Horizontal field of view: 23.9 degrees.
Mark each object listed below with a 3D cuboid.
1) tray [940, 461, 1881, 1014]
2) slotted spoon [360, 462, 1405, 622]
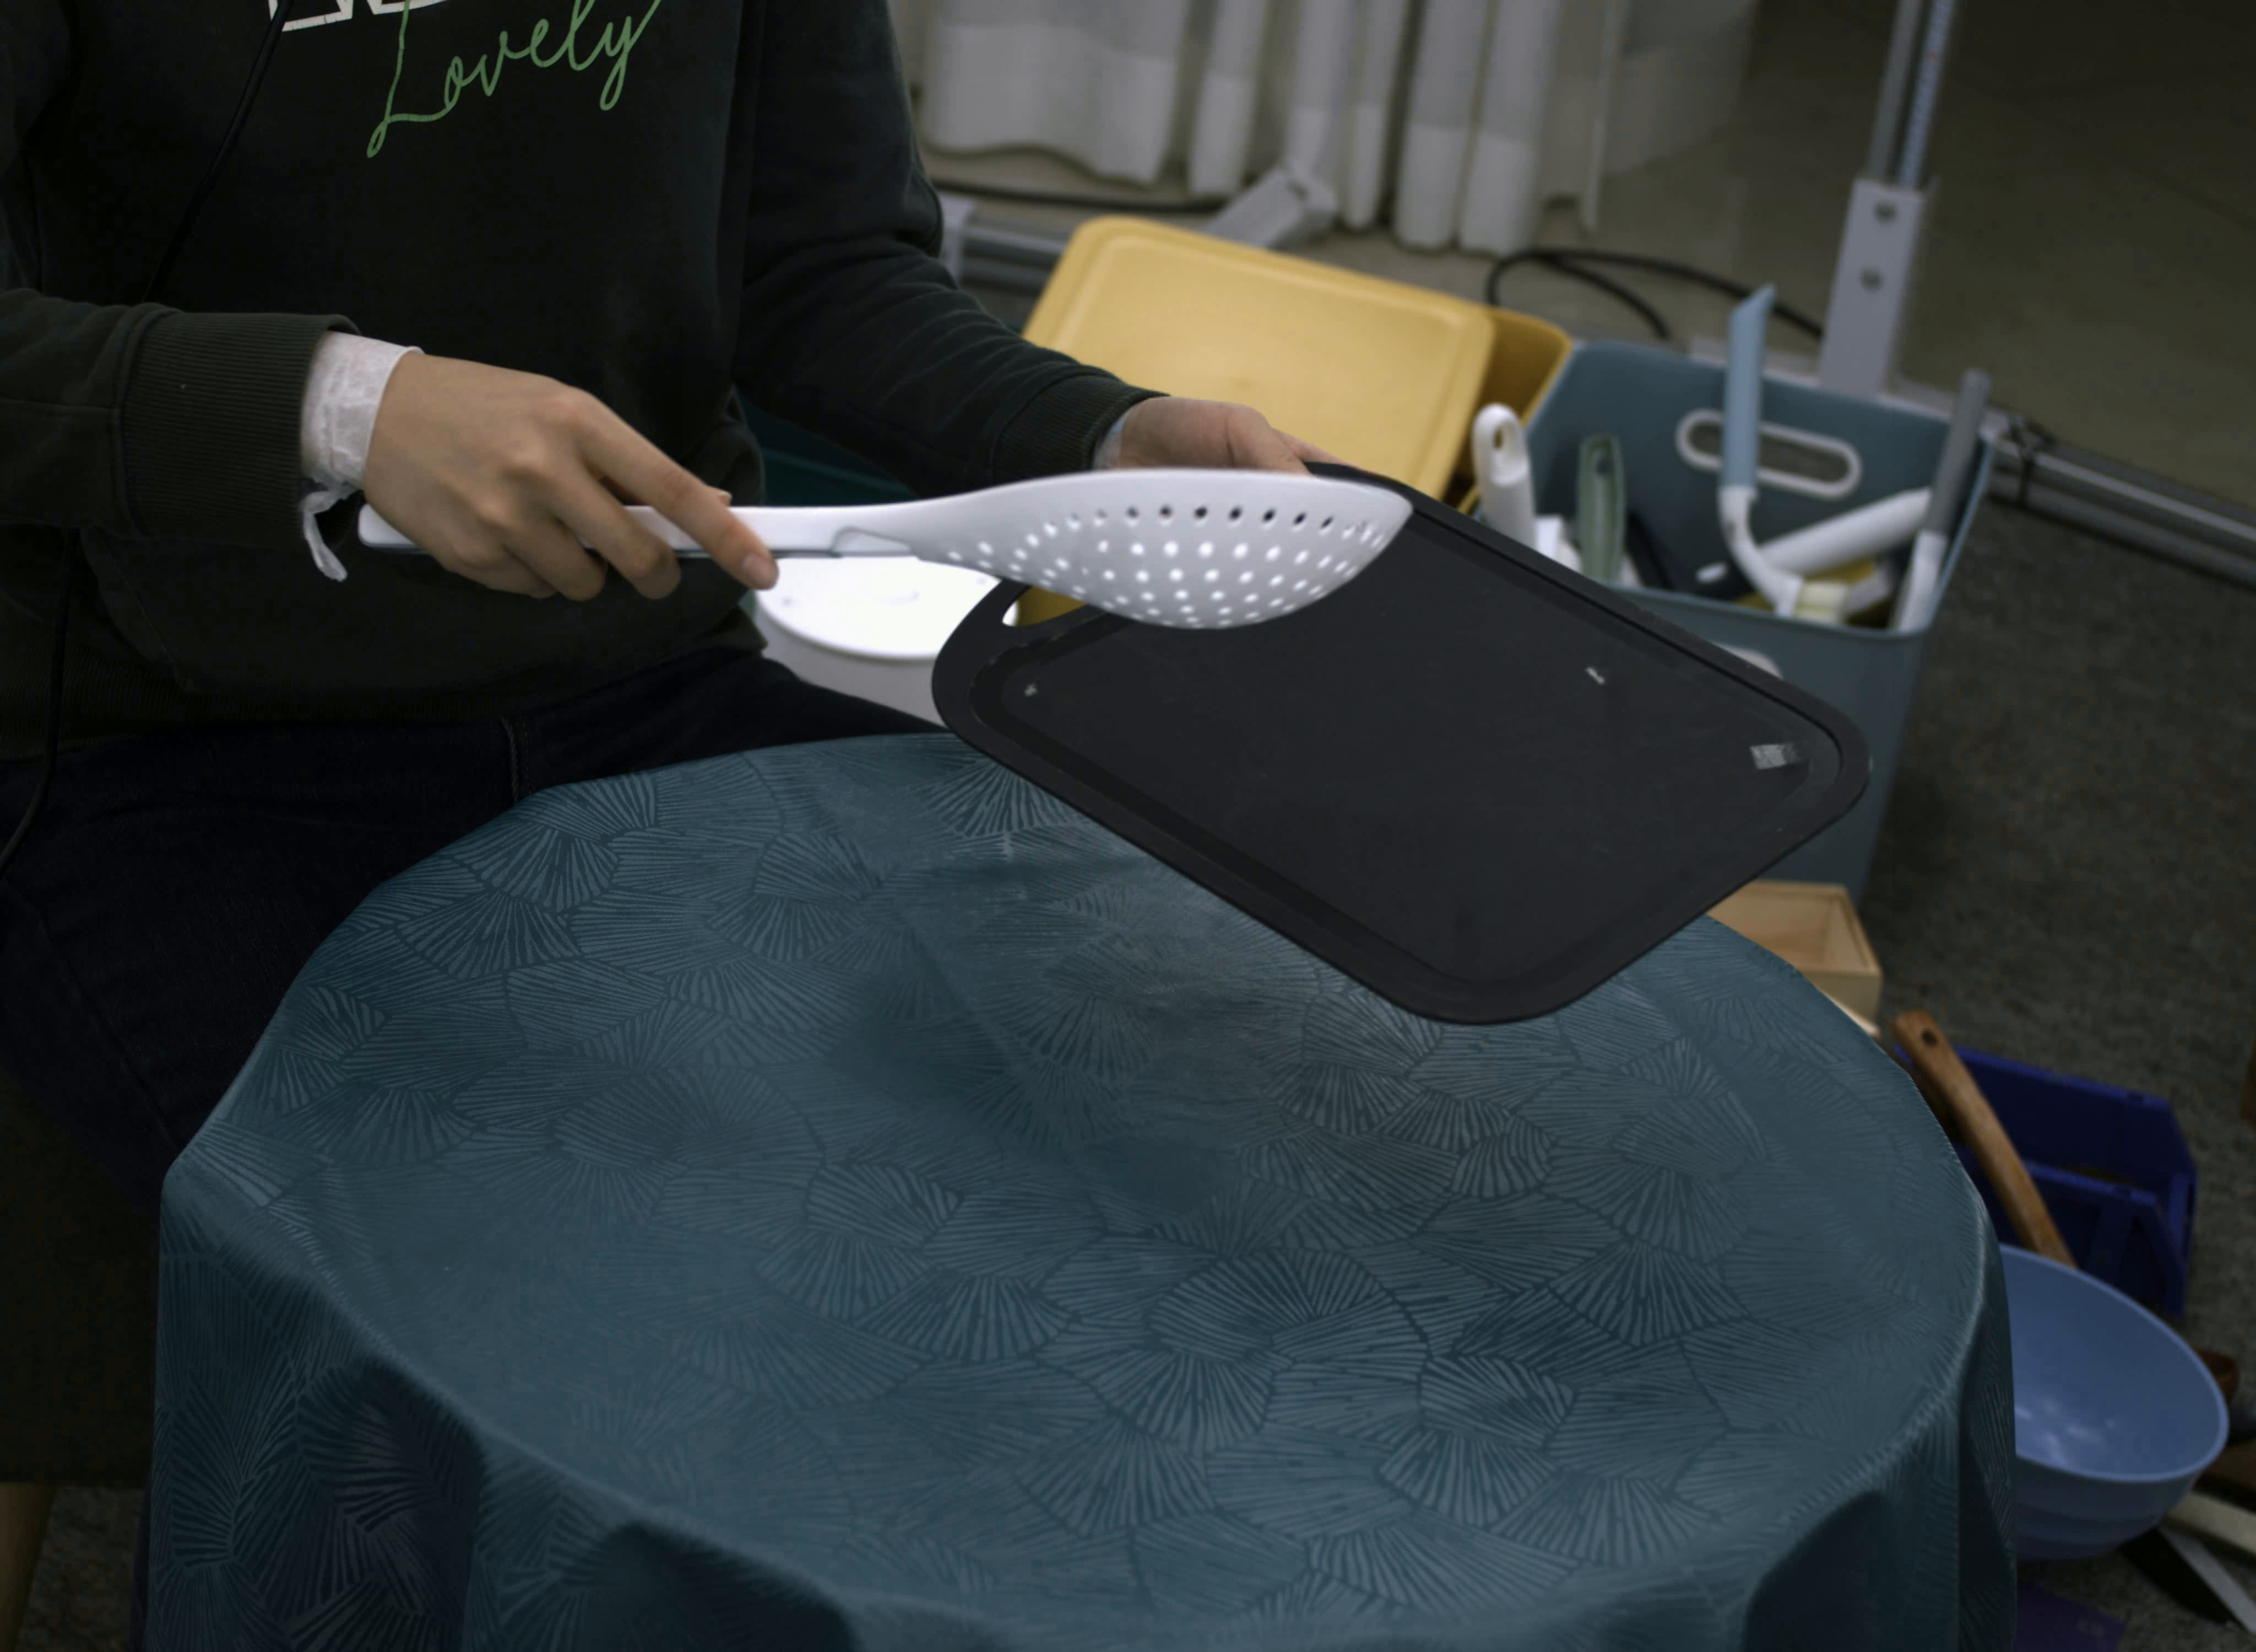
[{"bbox_3d":[0.087,-0.041,1.842,0.210,0.010,0.328,-32,43,-29],"label":"tray"},{"bbox_3d":[-0.084,-0.098,1.739,0.350,0.046,0.135,5,-4,14],"label":"slotted spoon"}]
